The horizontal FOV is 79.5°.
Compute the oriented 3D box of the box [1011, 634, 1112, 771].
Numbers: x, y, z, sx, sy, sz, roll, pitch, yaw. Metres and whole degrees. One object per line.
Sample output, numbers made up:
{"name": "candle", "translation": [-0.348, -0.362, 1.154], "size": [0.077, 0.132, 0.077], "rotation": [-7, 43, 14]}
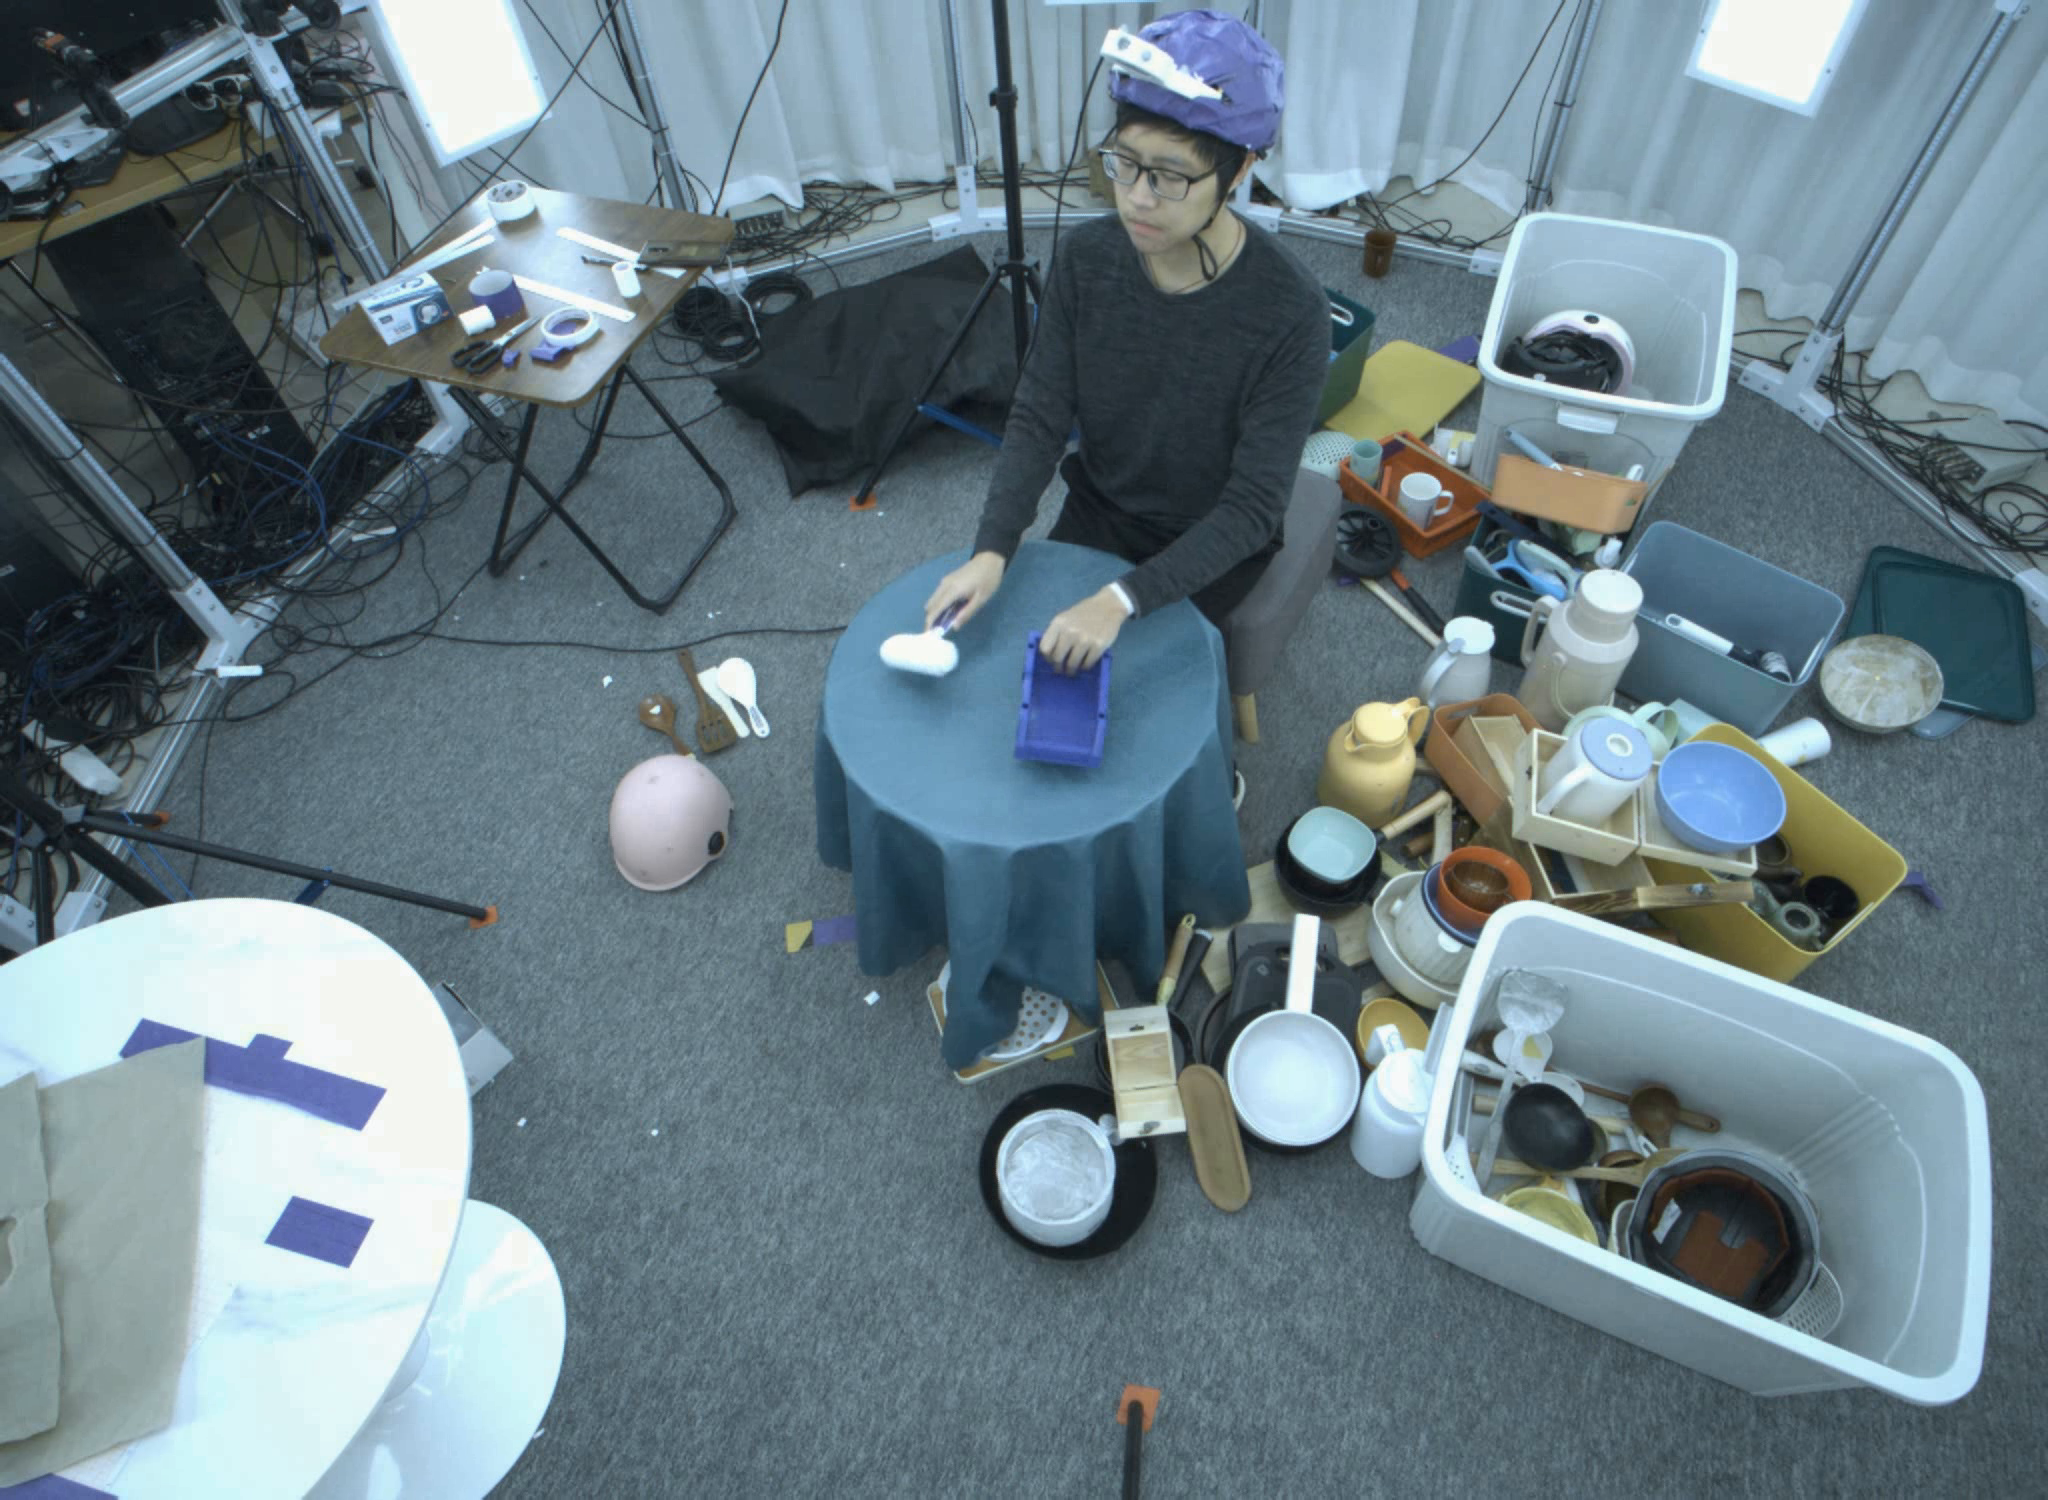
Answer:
{"name": "box", "translation": [0.055, -0.063, 1.748], "size": [0.125, 0.082, 0.178], "rotation": [9, 56, -4]}

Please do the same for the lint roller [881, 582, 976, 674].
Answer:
{"name": "lint roller", "translation": [-0.127, -0.195, 1.843], "size": [0.130, 0.051, 0.181], "rotation": [14, 64, 35]}
